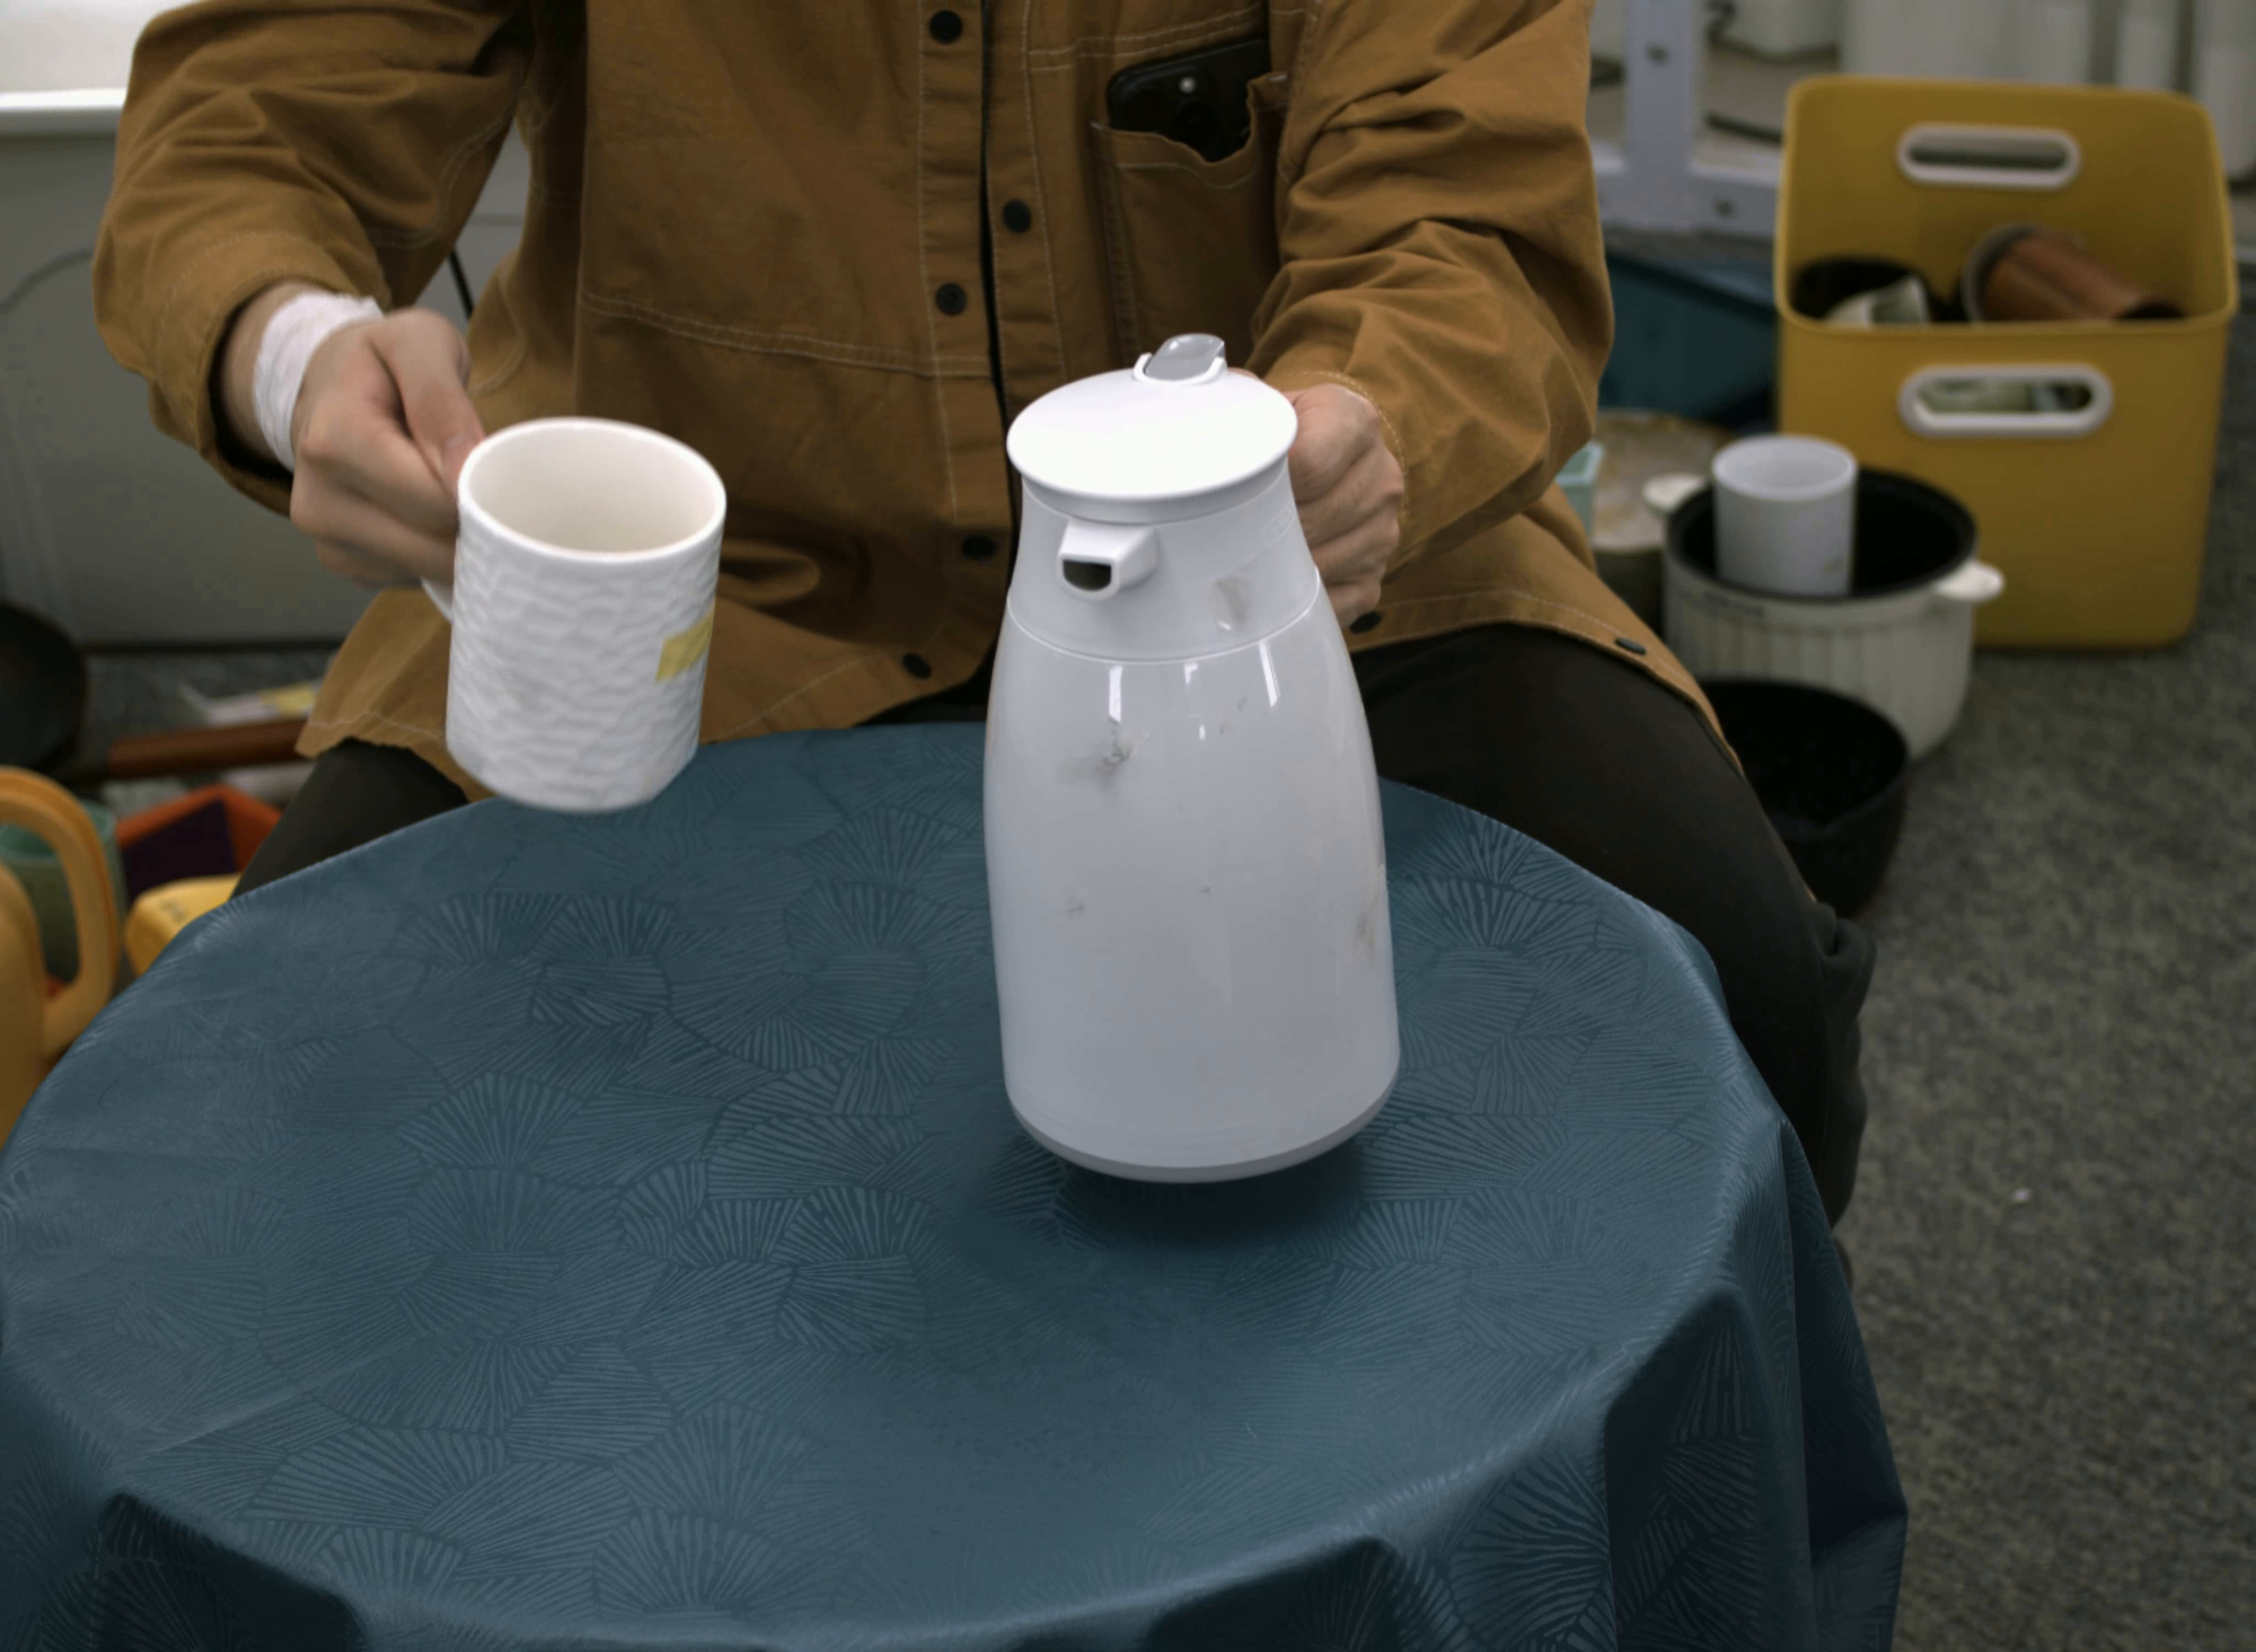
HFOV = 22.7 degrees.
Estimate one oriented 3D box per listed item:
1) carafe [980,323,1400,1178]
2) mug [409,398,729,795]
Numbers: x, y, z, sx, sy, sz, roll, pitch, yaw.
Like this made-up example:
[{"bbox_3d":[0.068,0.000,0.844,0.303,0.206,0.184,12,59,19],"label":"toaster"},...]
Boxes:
[{"bbox_3d":[0.020,-0.035,1.825,0.131,0.246,0.171,4,29,18],"label":"carafe"},{"bbox_3d":[-0.189,-0.080,1.832,0.118,0.100,0.086,29,38,27],"label":"mug"}]
